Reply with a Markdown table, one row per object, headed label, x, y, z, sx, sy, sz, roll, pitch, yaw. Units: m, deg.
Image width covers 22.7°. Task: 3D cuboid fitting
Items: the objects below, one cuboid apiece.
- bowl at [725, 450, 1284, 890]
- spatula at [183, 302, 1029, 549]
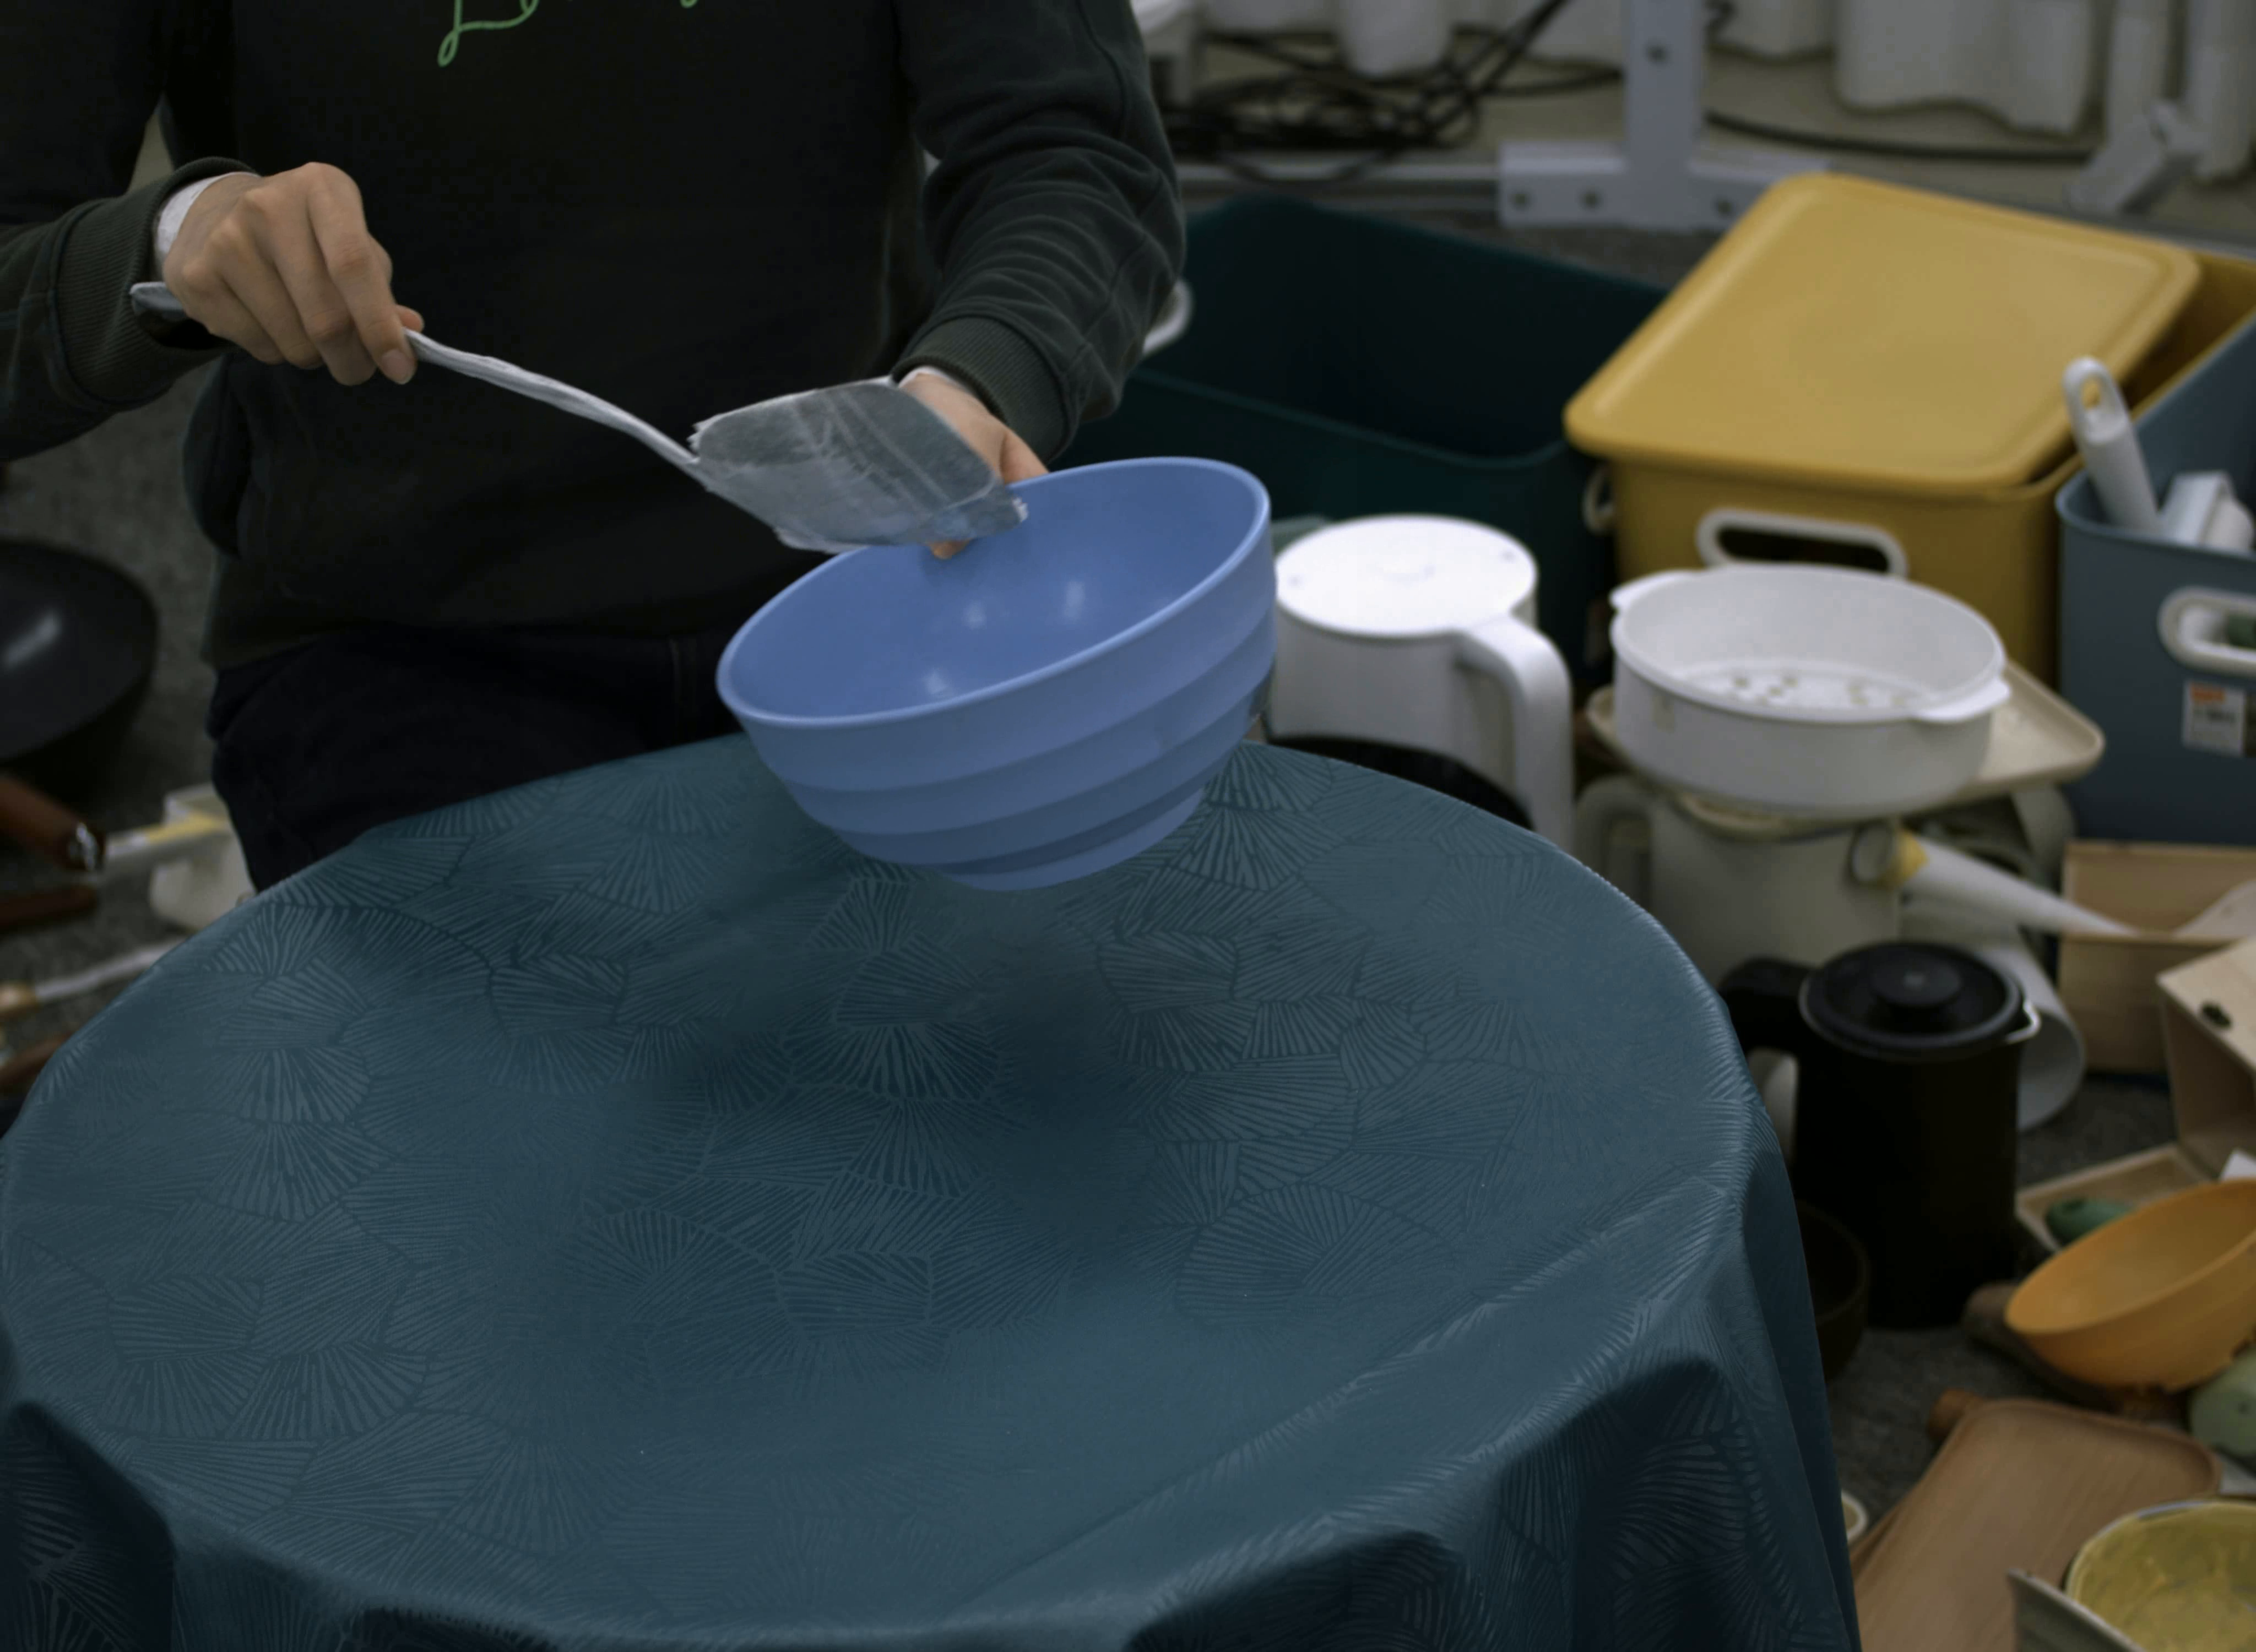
| label | x | y | z | sx | sy | sz | roll | pitch | yaw |
| --- | --- | --- | --- | --- | --- | --- | --- | --- | --- |
| bowl | -0.029 | -0.042 | 1.907 | 0.195 | 0.095 | 0.199 | -18 | 22 | 8 |
| spatula | -0.192 | -0.148 | 1.902 | 0.363 | 0.098 | 0.045 | 19 | 74 | 36 |
